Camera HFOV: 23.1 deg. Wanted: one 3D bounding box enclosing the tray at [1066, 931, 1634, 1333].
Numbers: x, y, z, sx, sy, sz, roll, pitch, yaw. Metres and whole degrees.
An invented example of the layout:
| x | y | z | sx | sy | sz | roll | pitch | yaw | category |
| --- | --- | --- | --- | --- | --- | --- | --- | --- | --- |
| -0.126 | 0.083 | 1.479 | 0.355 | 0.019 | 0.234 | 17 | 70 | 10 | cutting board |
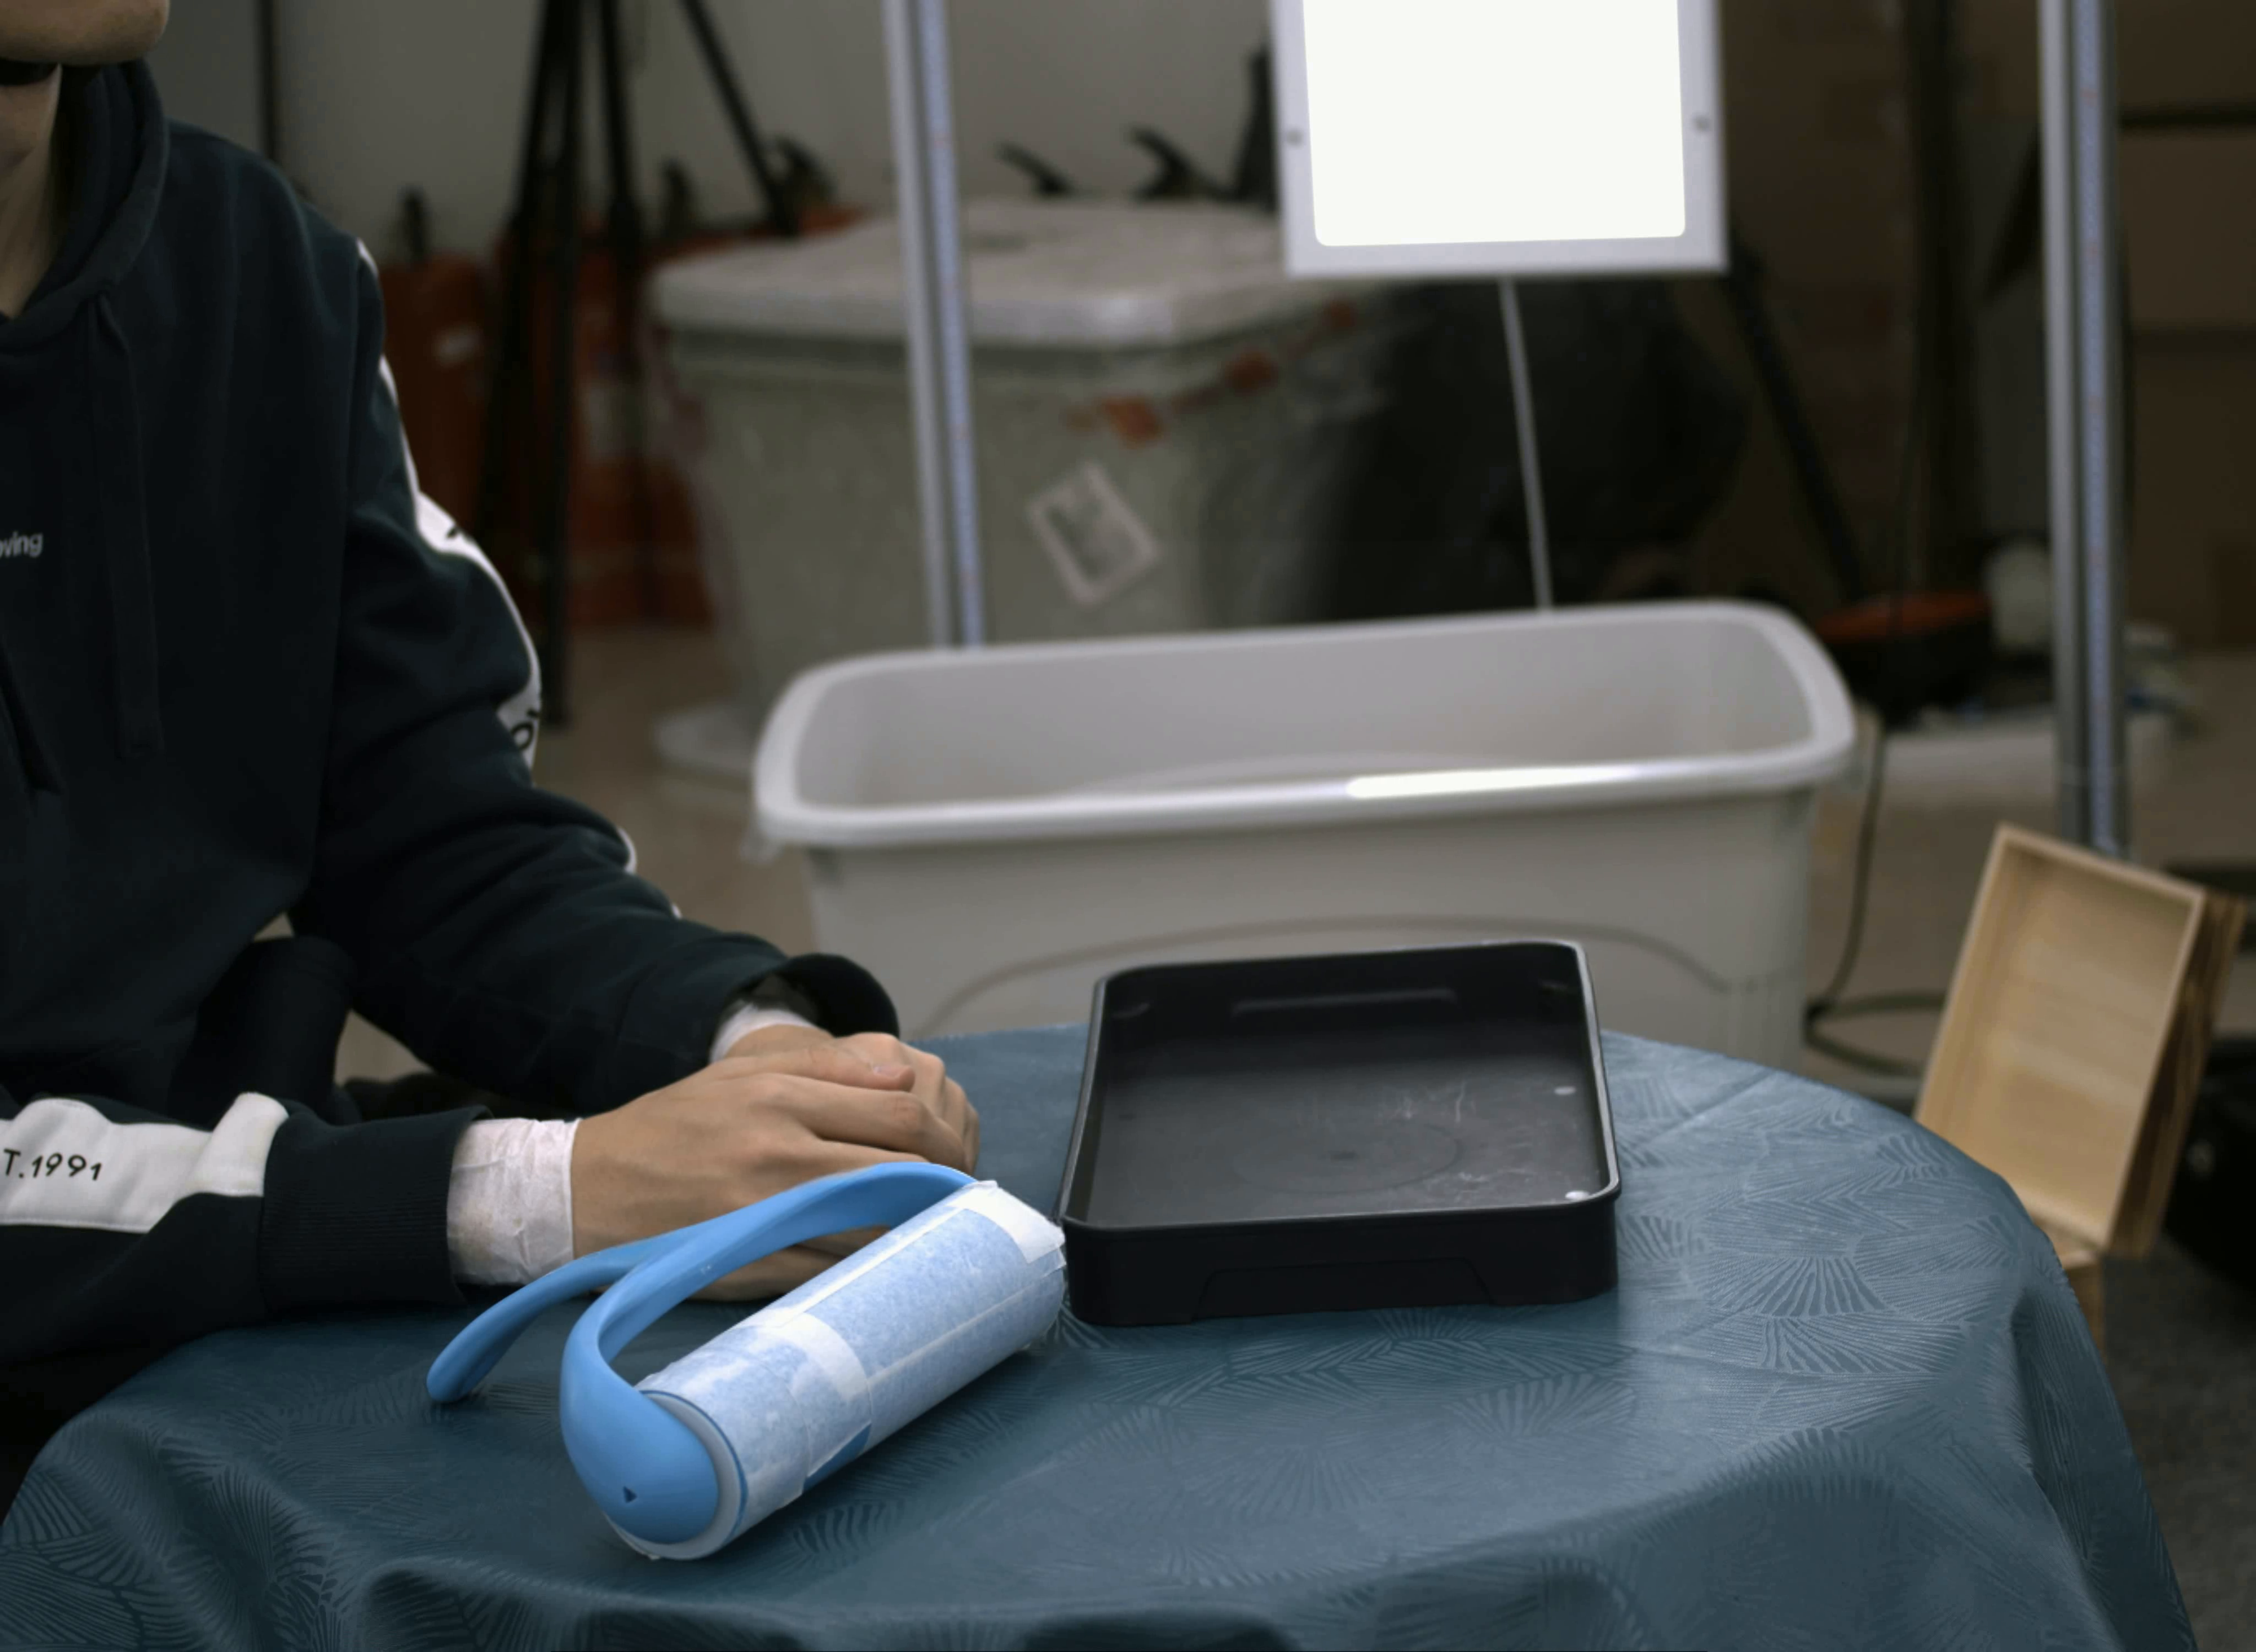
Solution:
| x | y | z | sx | sy | sz | roll | pitch | yaw | category |
| --- | --- | --- | --- | --- | --- | --- | --- | --- | --- |
| 0.075 | 0.101 | 1.899 | 0.184 | 0.037 | 0.316 | -5 | 15 | 3 | tray |

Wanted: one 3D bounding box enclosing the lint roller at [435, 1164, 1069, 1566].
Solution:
| x | y | z | sx | sy | sz | roll | pitch | yaw | category |
| --- | --- | --- | --- | --- | --- | --- | --- | --- | --- |
| -0.140 | 0.159 | 1.694 | 0.183 | 0.068 | 0.224 | 4 | 18 | 27 | lint roller |
